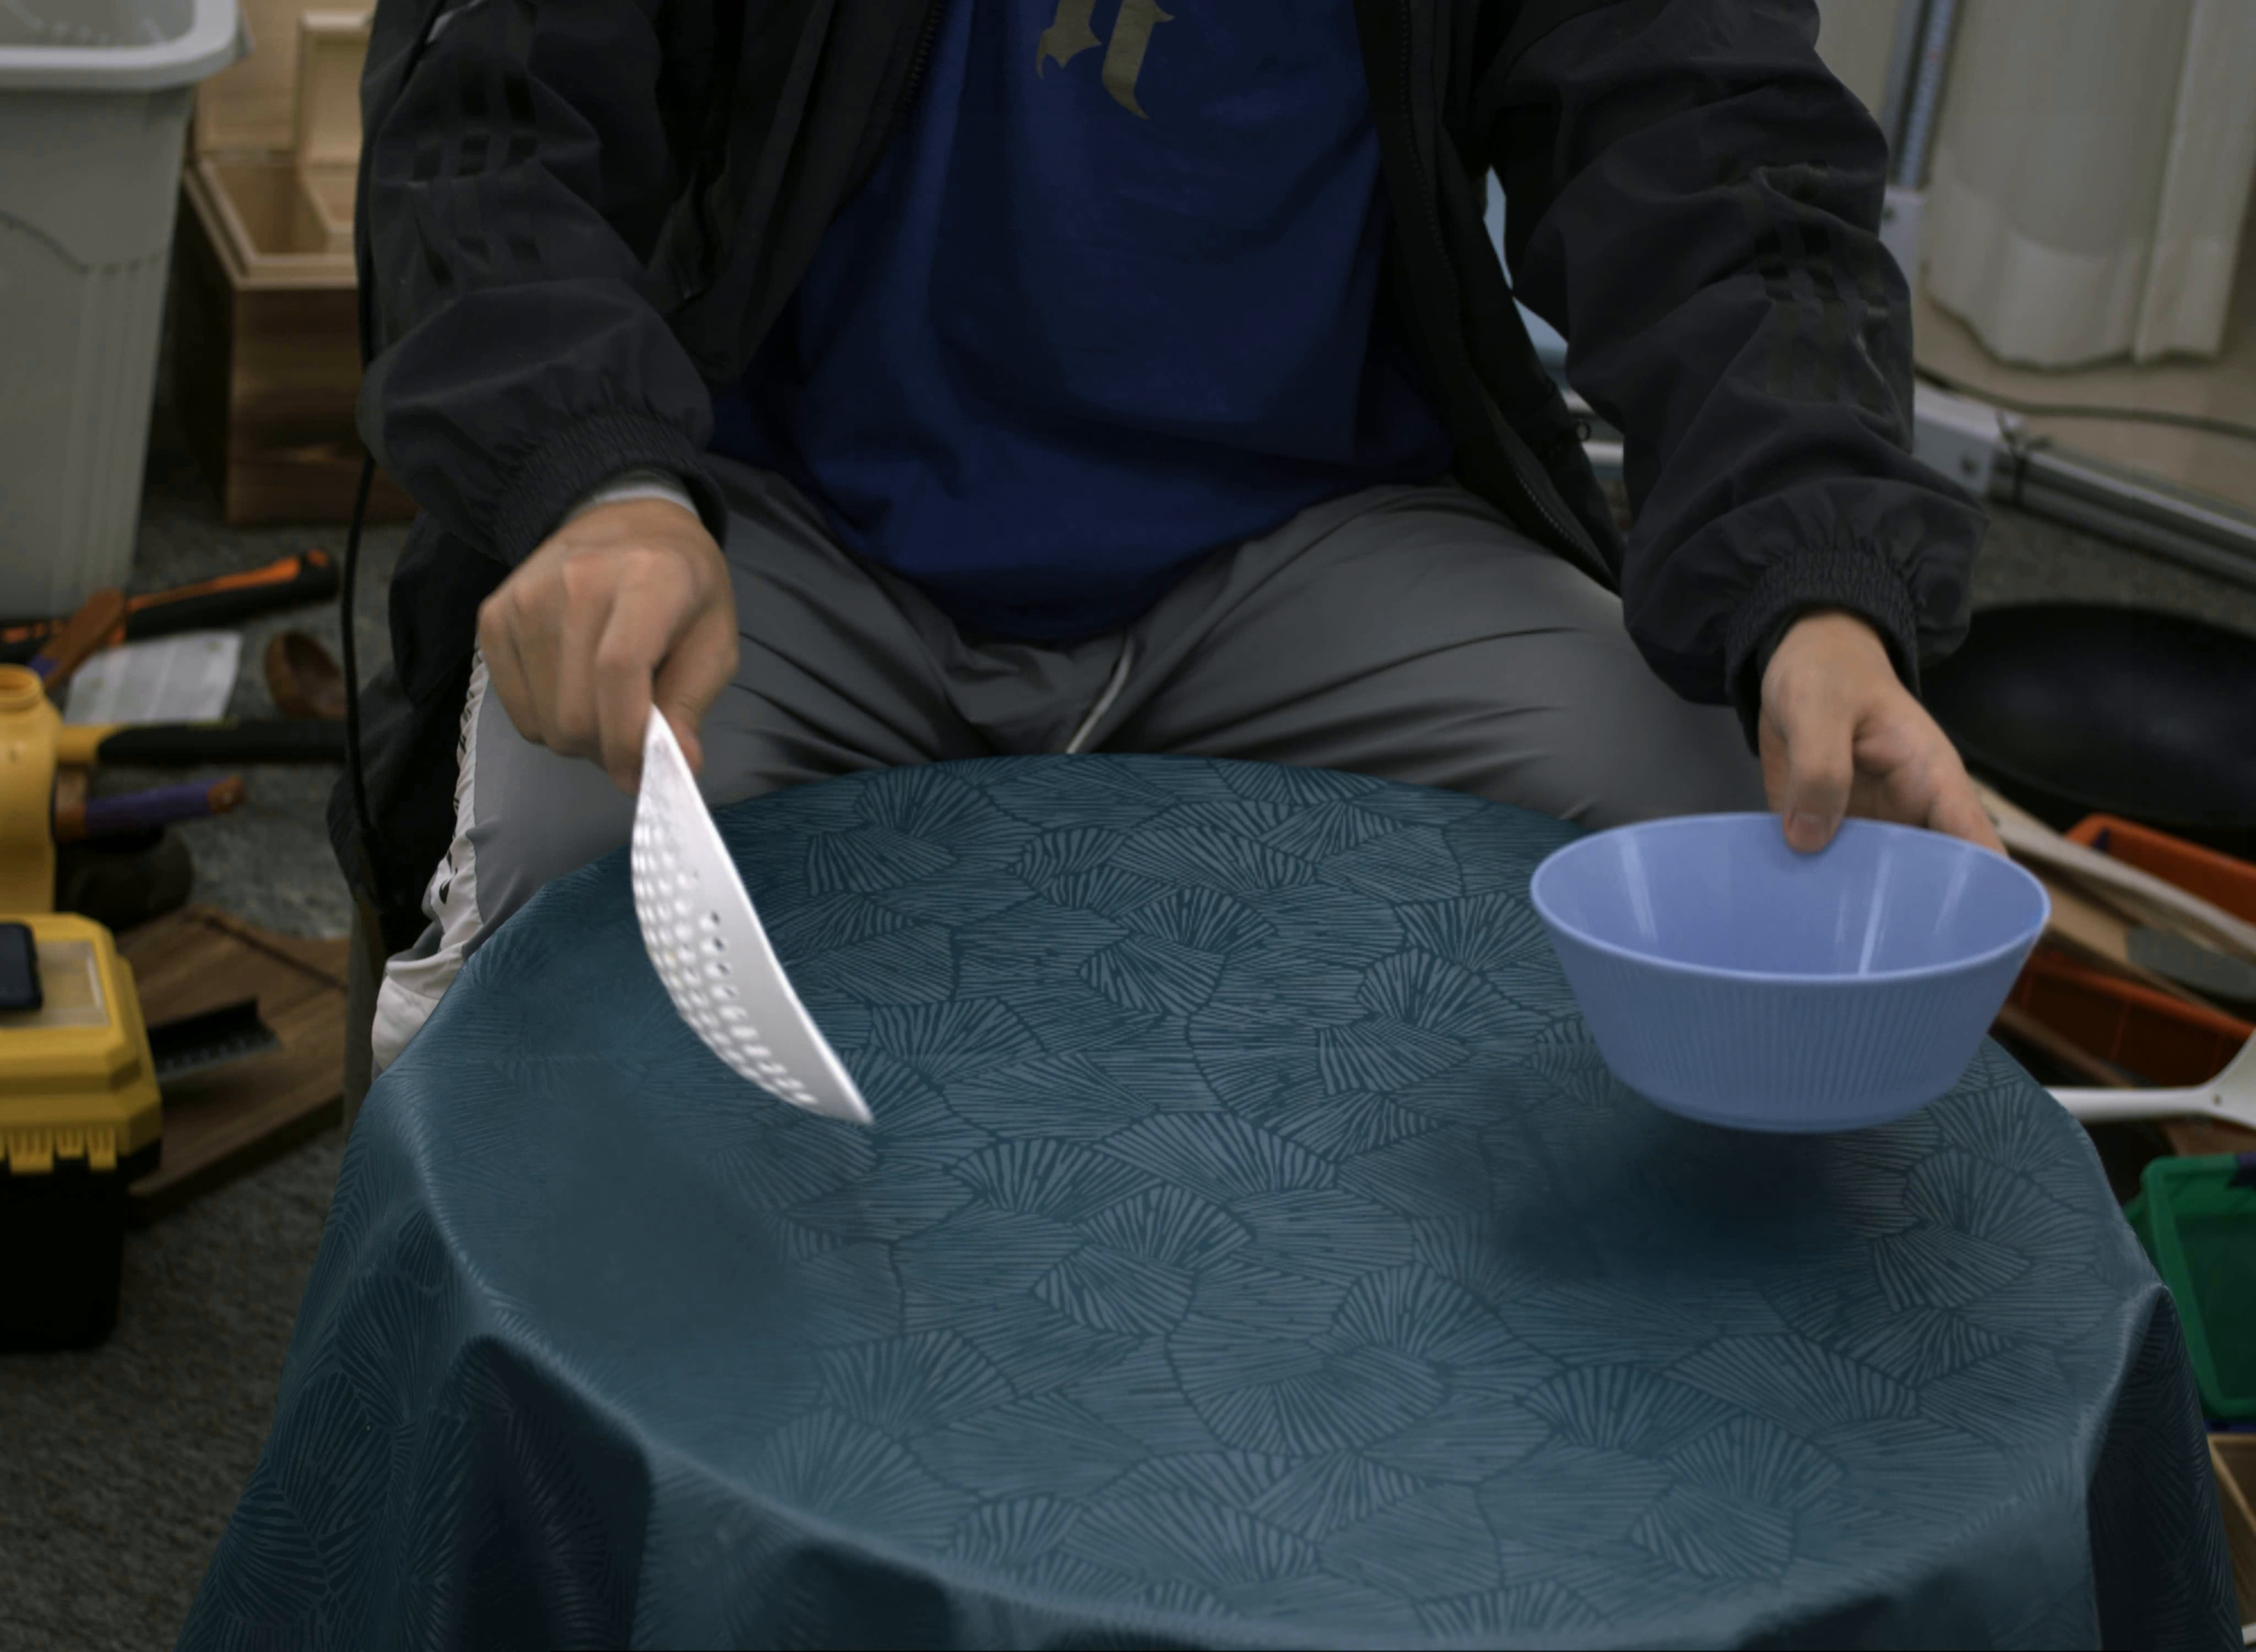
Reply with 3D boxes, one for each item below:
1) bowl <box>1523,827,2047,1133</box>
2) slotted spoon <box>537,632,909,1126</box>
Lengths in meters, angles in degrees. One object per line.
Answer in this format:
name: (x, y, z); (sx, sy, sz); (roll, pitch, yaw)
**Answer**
bowl: (0.221, 0.055, 1.806); (0.175, 0.070, 0.177); (0, 16, 0)
slotted spoon: (-0.151, 0.001, 1.791); (0.050, 0.136, 0.350); (-32, 28, 2)
